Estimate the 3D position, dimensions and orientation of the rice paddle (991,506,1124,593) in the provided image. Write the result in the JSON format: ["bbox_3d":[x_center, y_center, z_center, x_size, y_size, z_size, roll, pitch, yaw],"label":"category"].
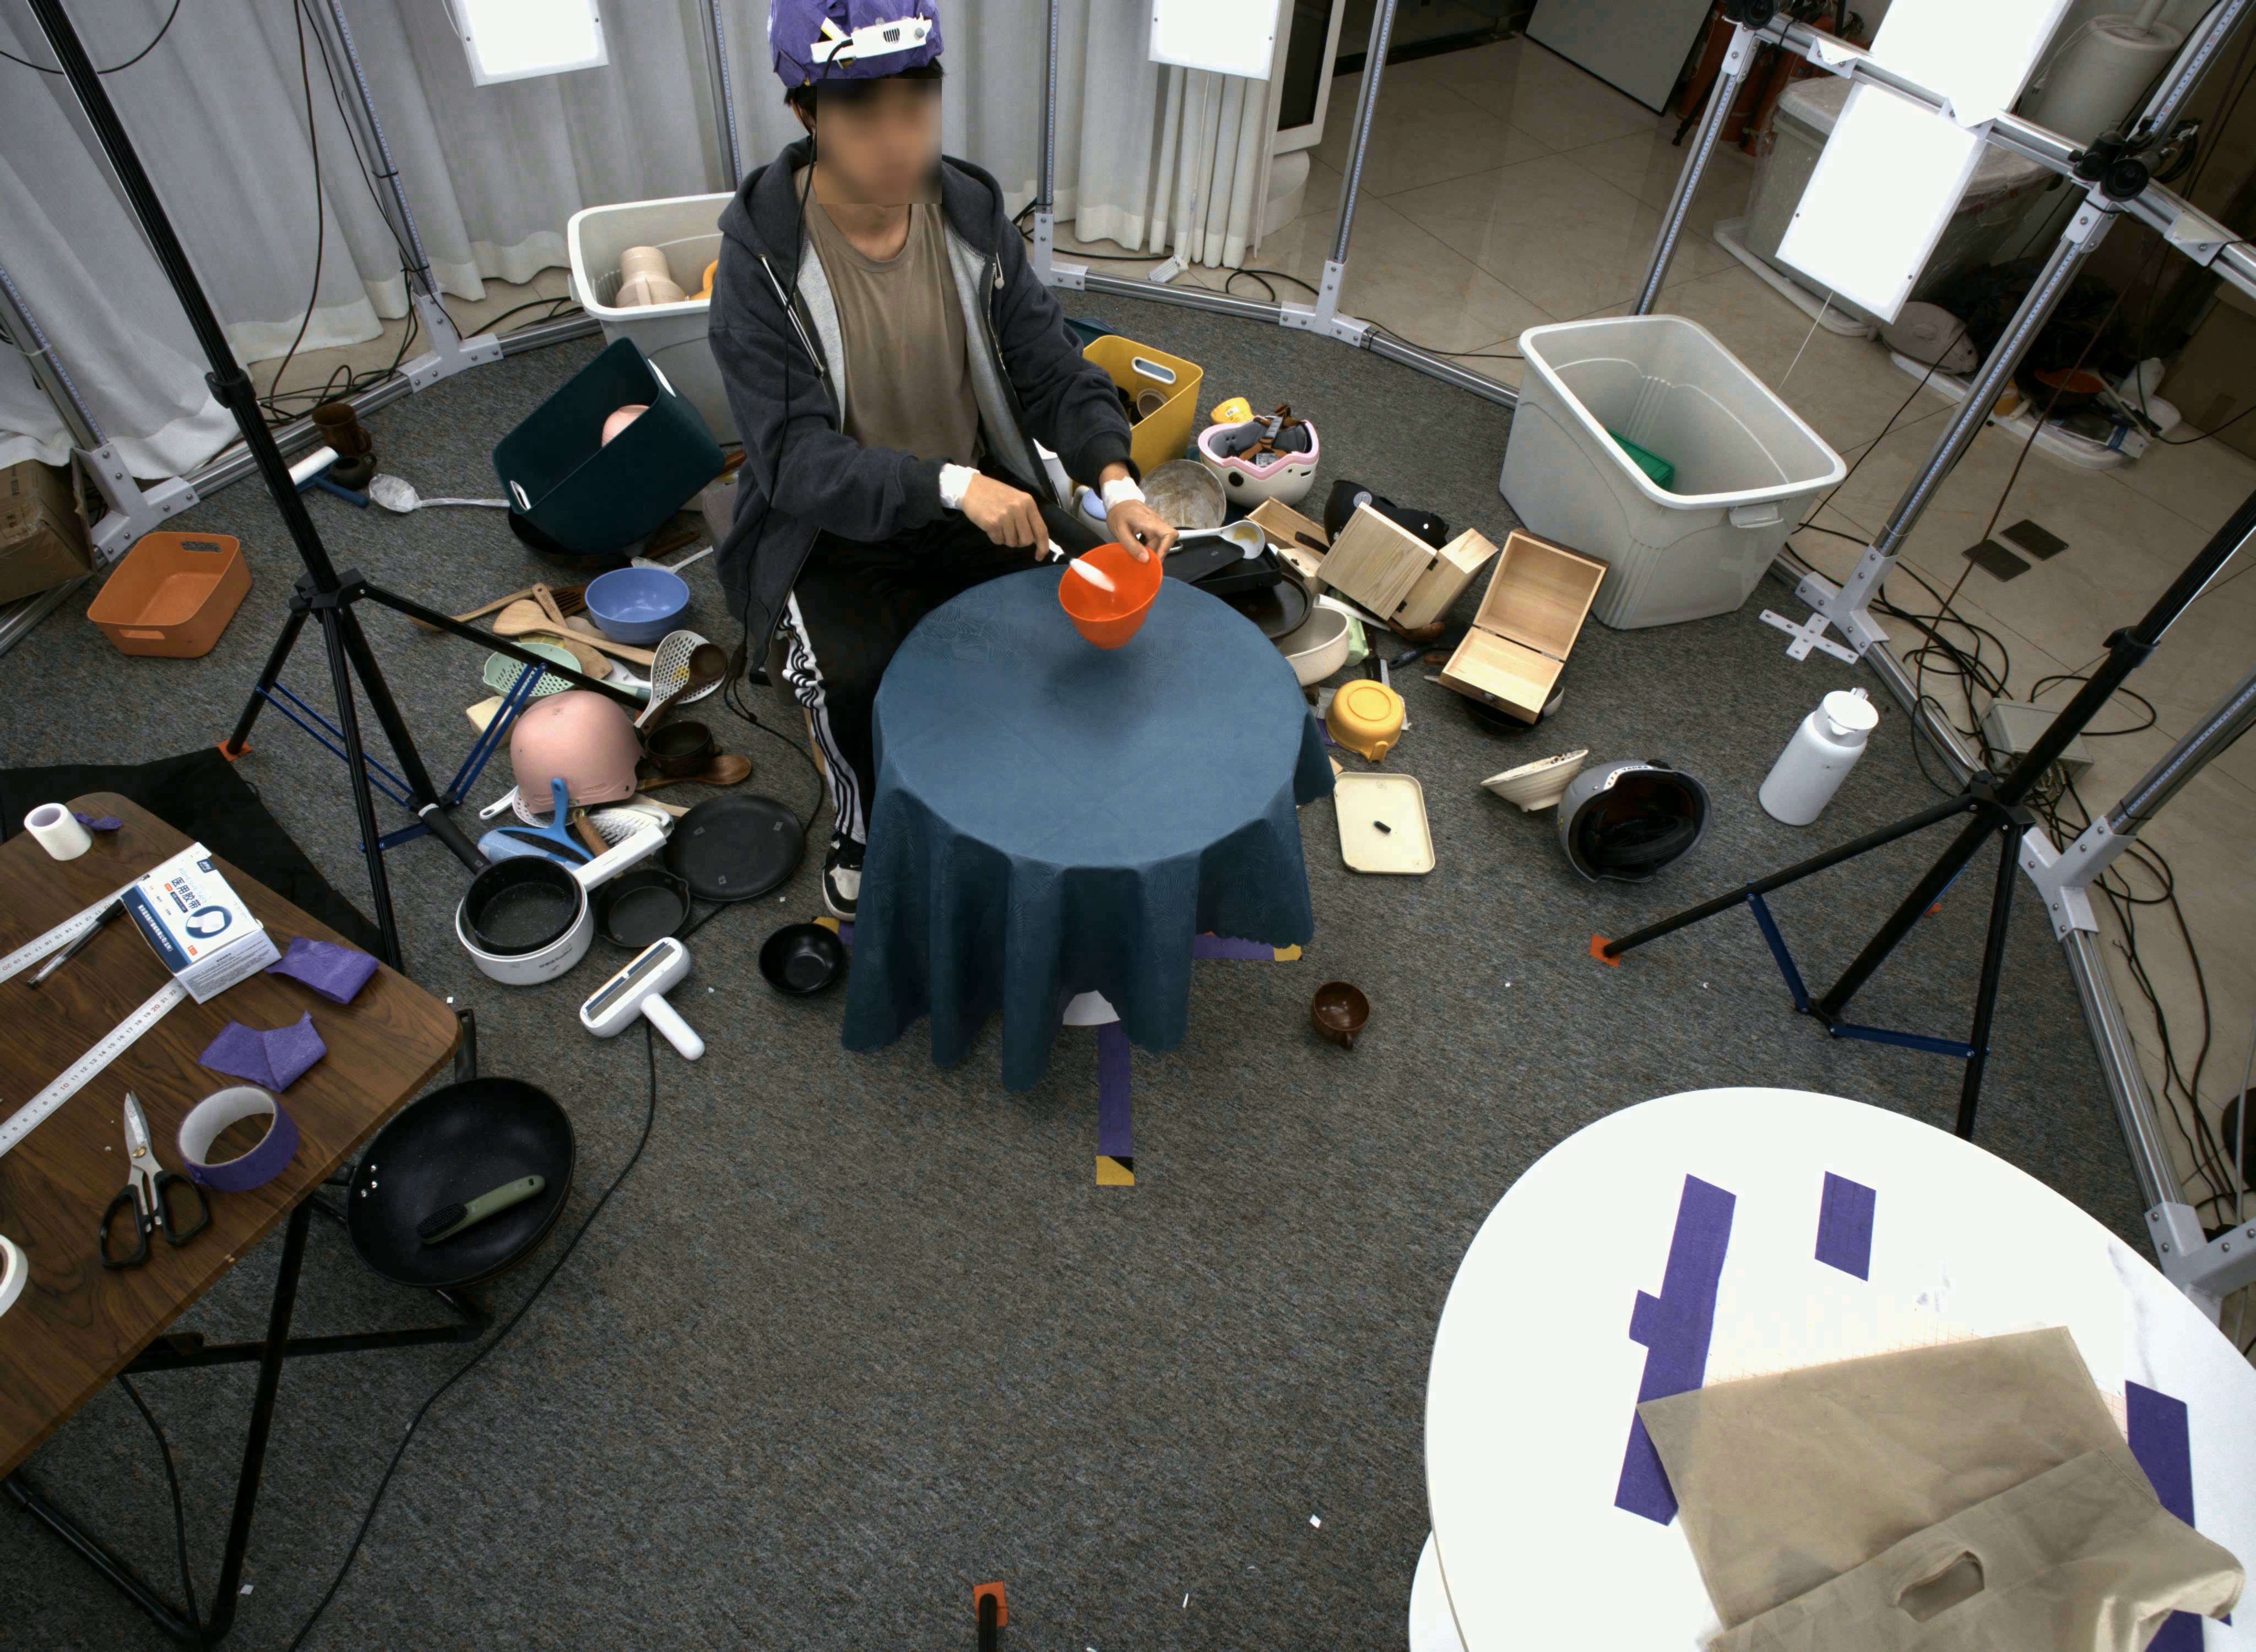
[{"bbox_3d":[-0.090,-0.370,1.748,0.203,0.029,0.070,26,18,-21],"label":"rice paddle"}]

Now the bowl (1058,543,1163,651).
[{"bbox_3d":[-0.020,-0.312,1.806,0.148,0.102,0.152,-4,50,5],"label":"bowl"}]
